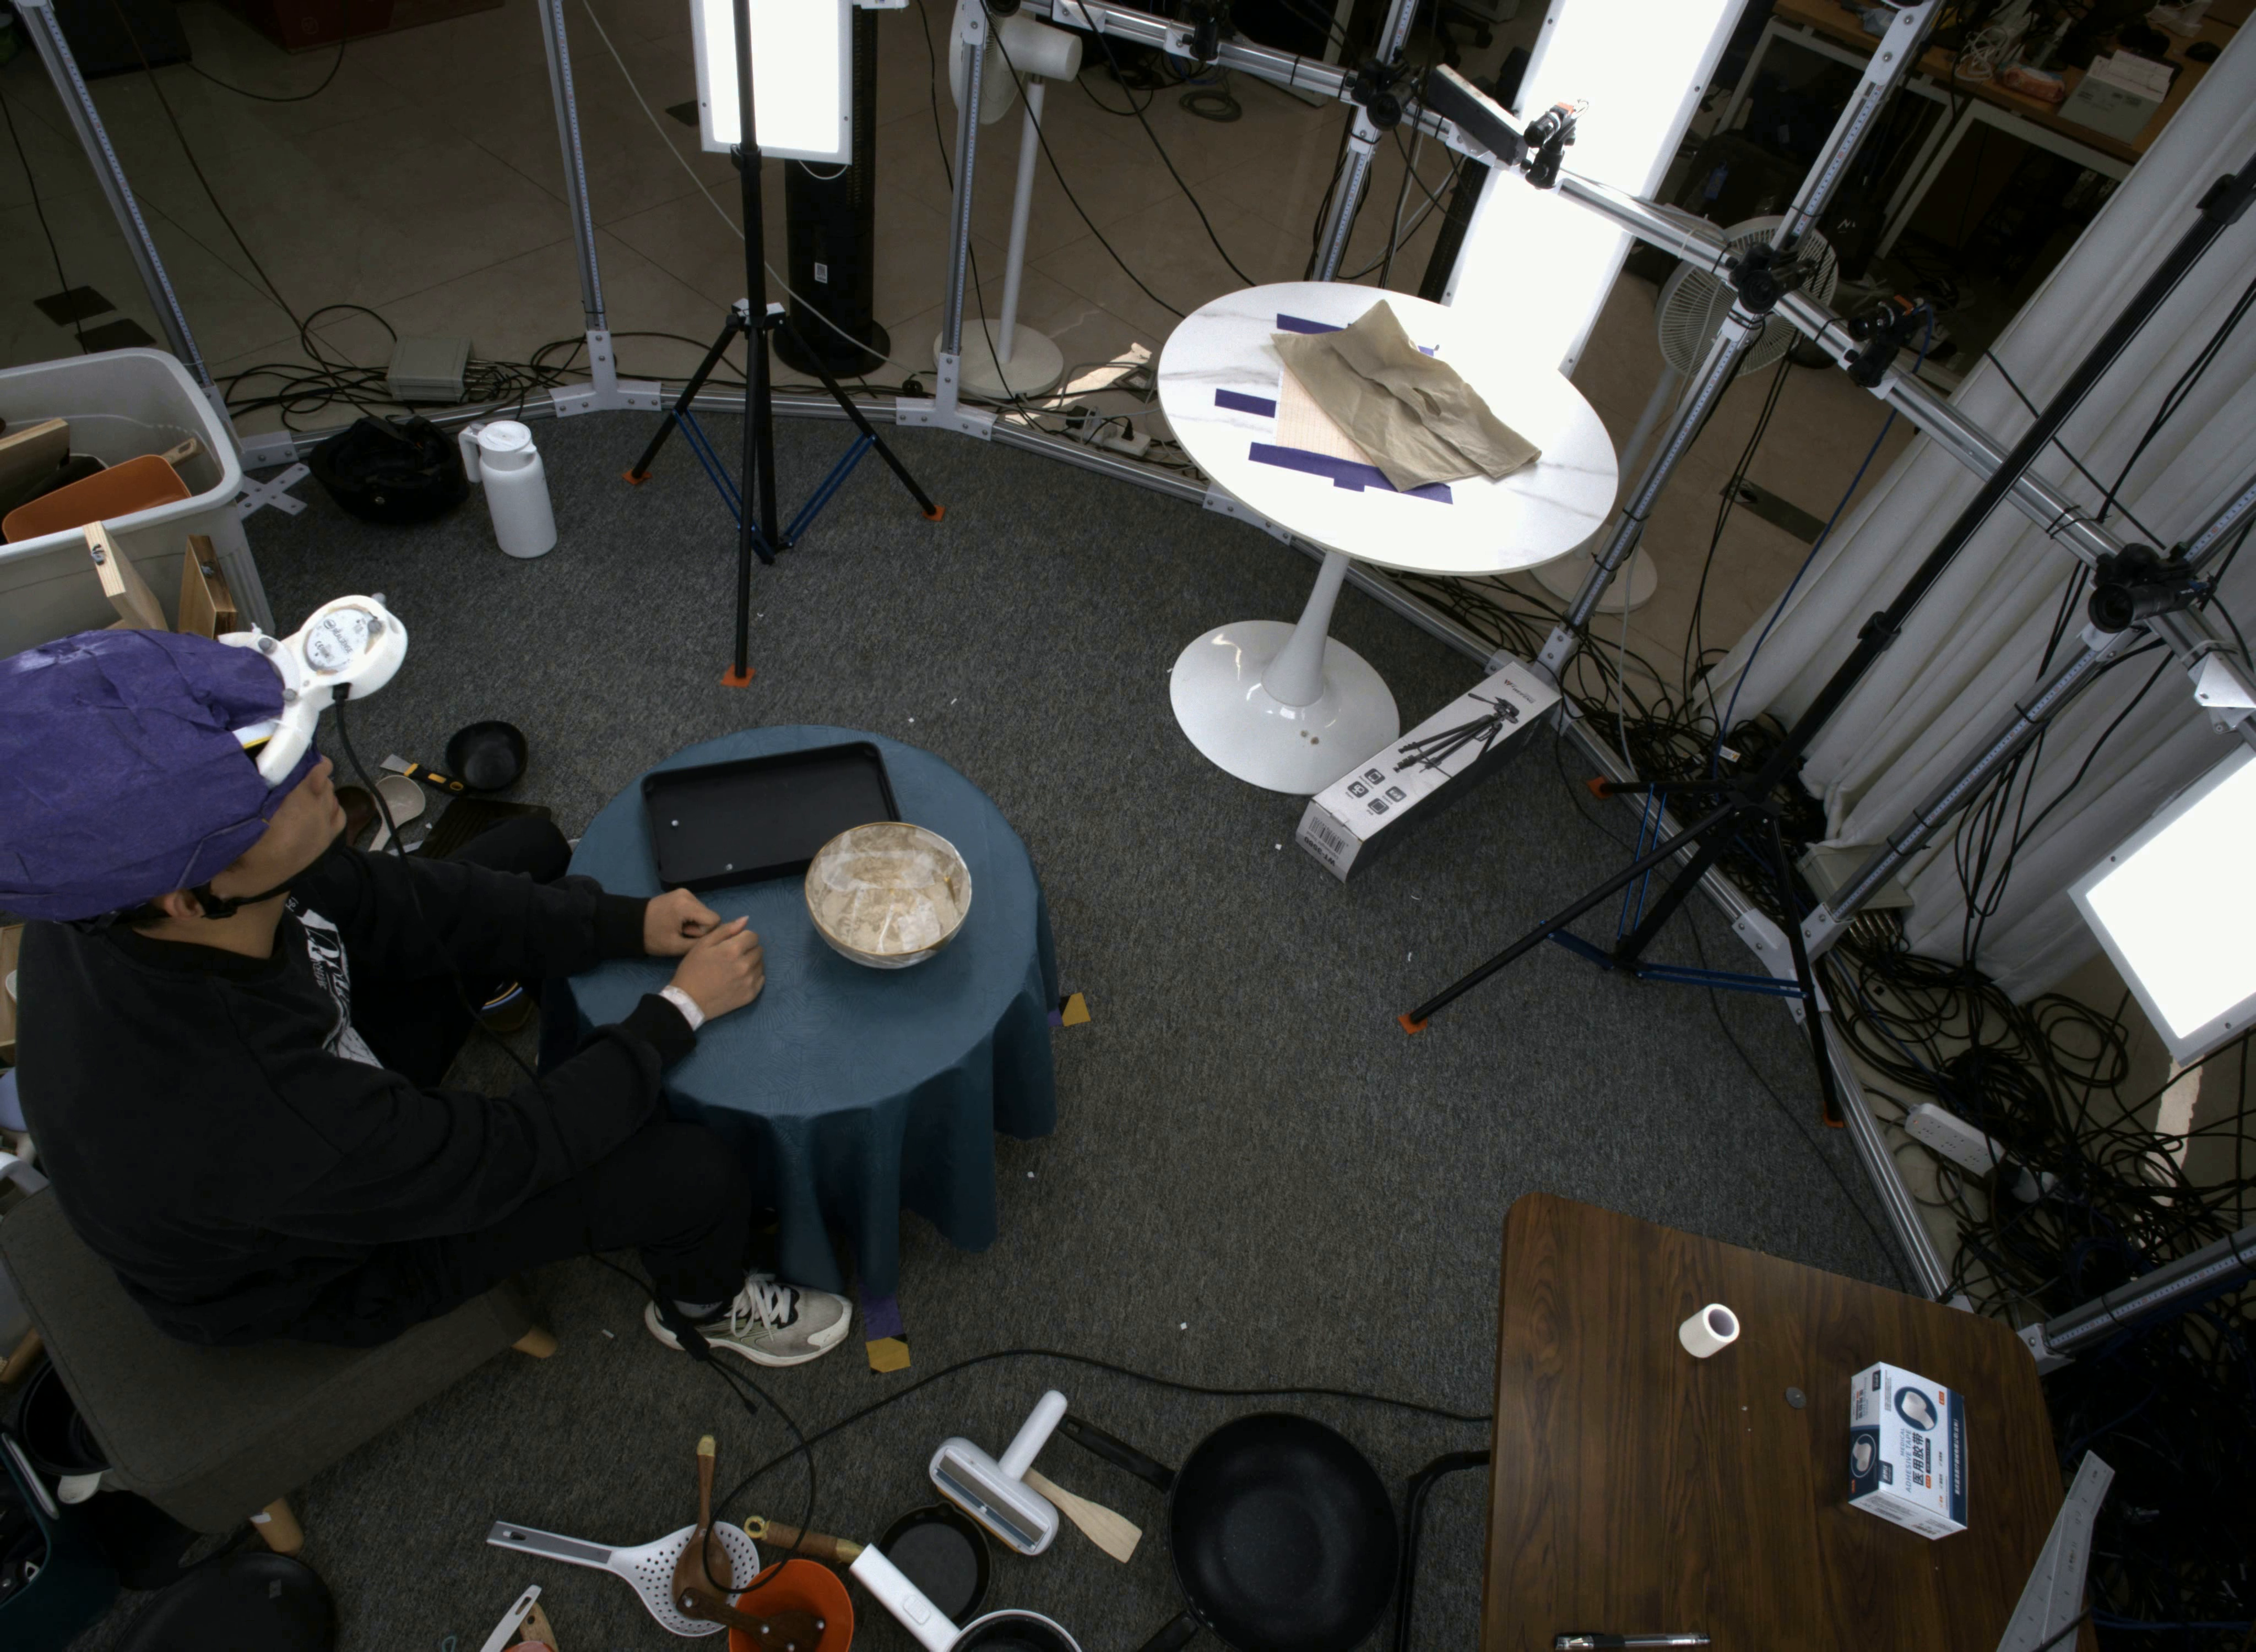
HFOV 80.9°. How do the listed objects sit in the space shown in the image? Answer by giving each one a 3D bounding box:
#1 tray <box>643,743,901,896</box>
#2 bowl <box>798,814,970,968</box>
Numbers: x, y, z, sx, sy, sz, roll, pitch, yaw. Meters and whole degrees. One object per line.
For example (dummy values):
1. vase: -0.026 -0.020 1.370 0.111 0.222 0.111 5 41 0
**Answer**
1. tray: -0.468 -0.014 1.706 0.319 0.038 0.180 -9 57 -21
2. bowl: -0.305 0.096 1.628 0.214 0.096 0.211 8 53 -9
